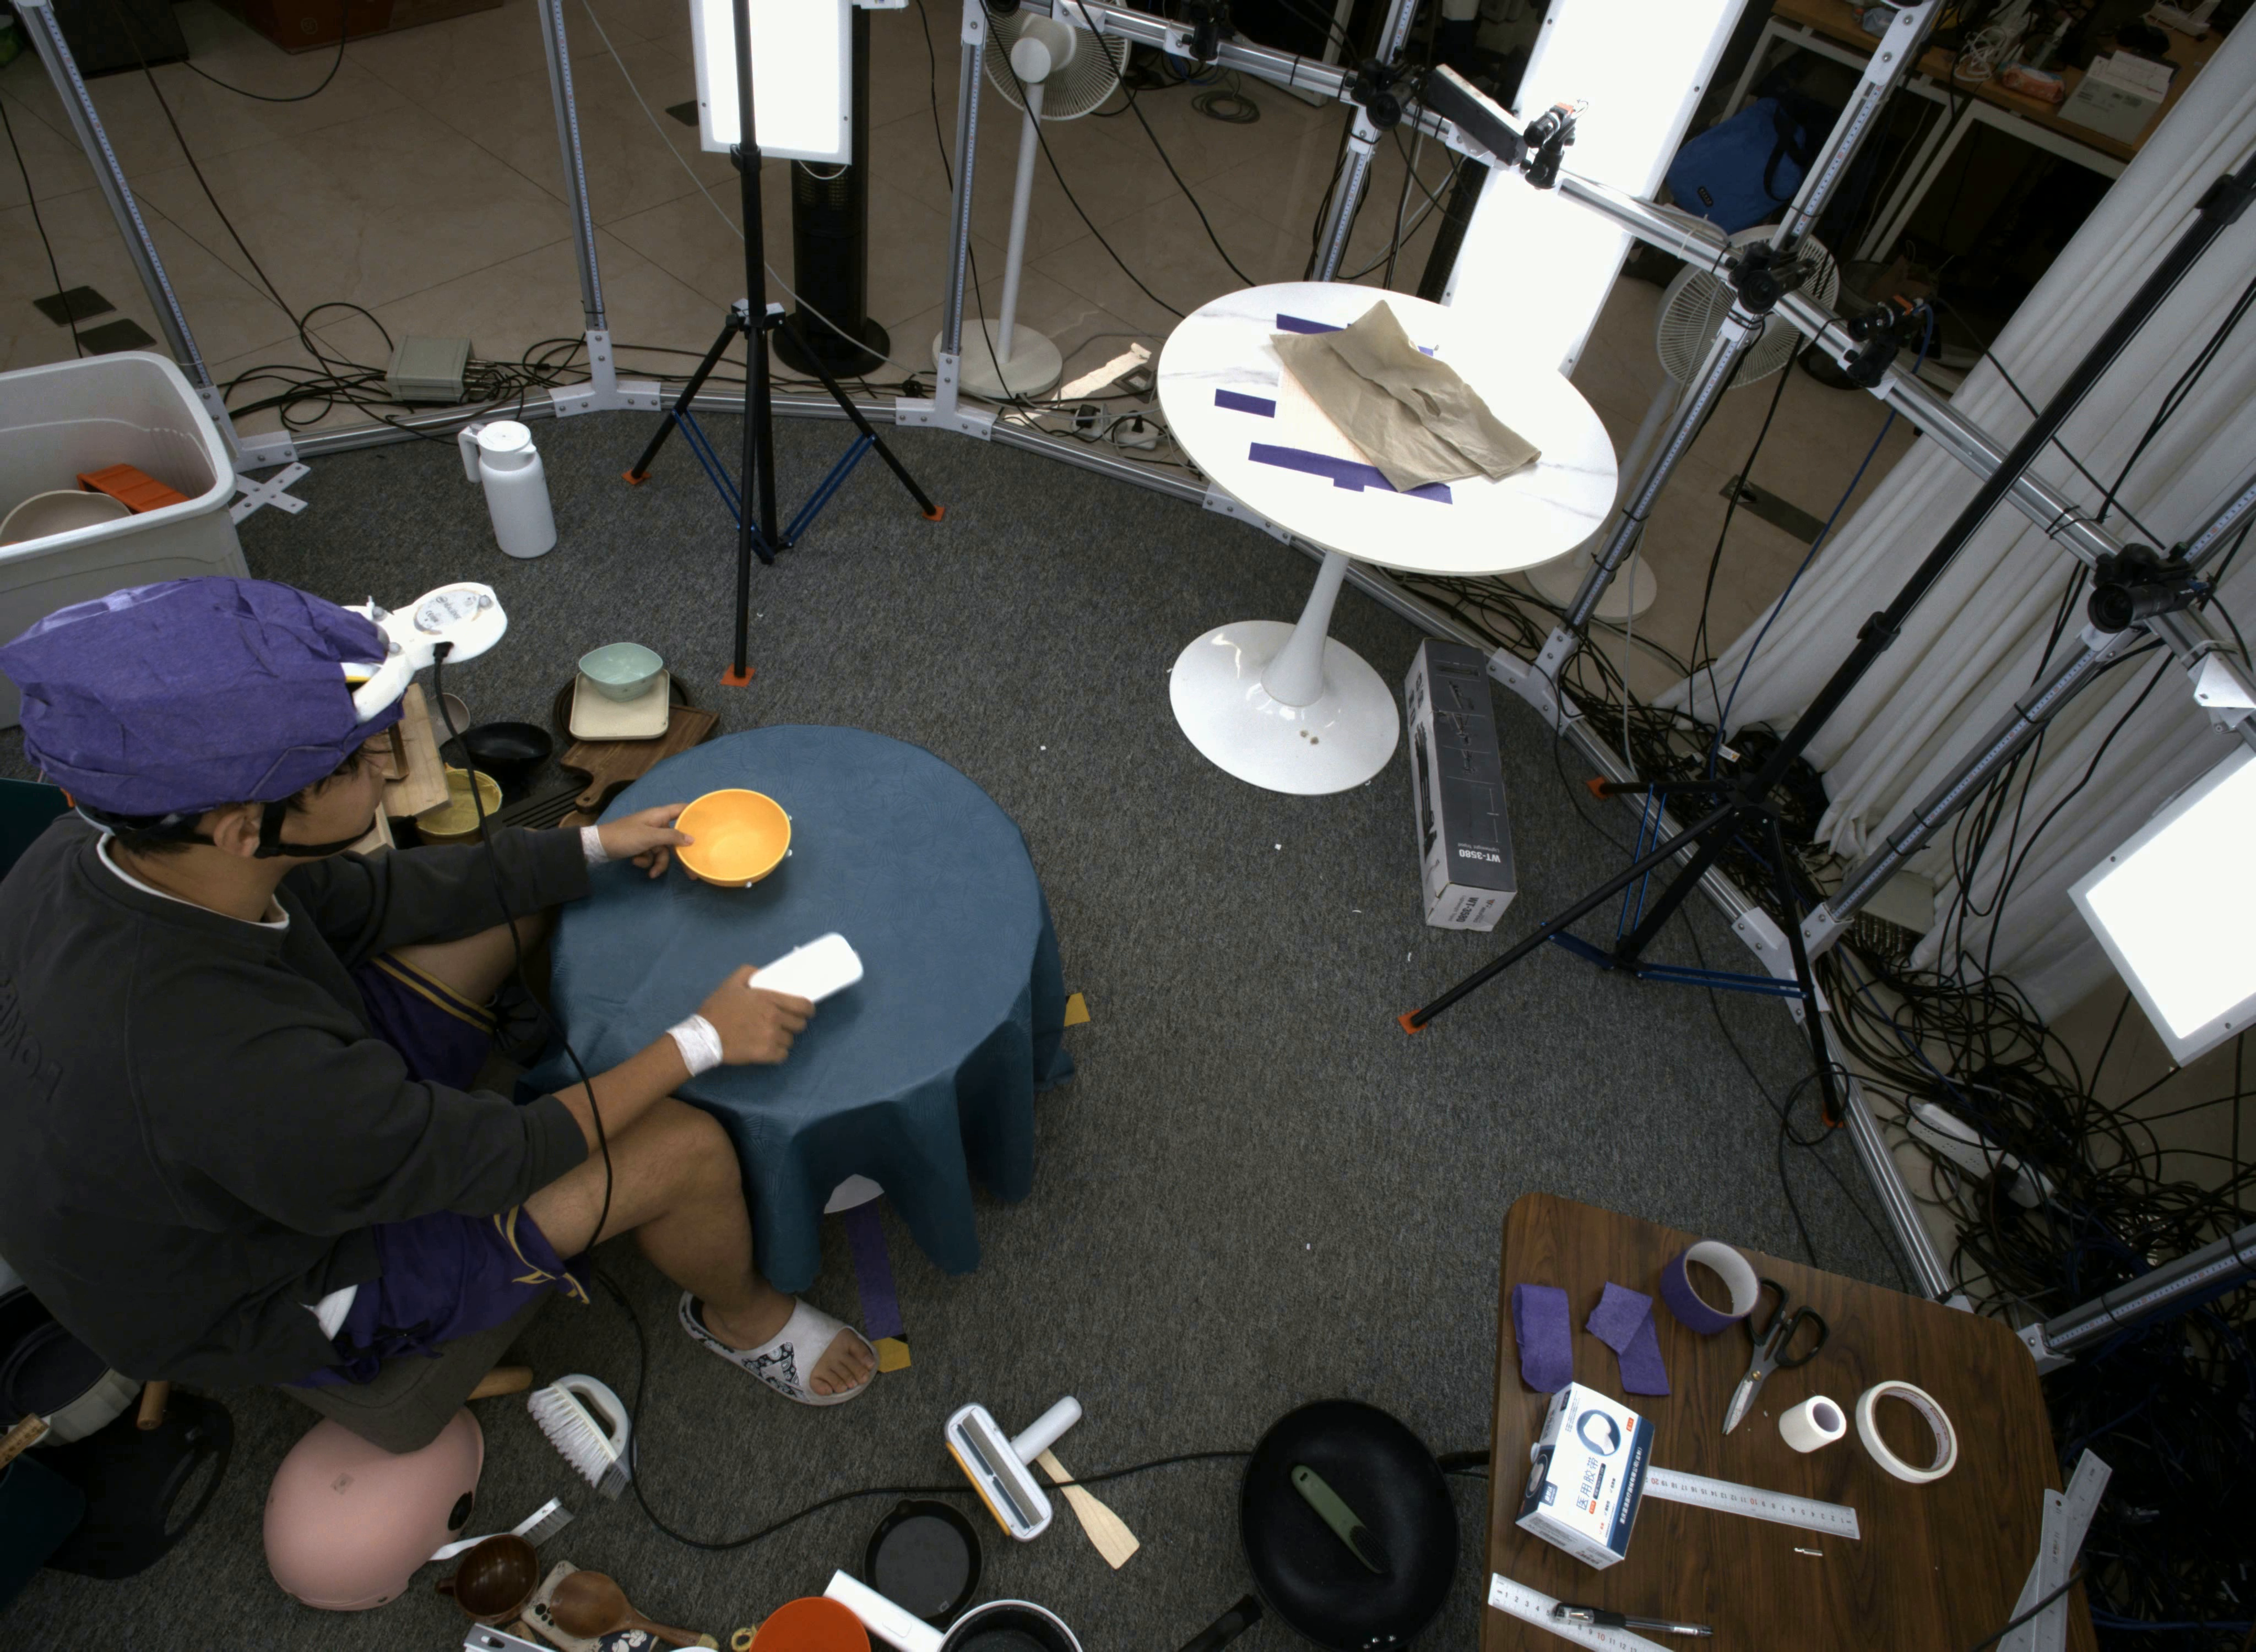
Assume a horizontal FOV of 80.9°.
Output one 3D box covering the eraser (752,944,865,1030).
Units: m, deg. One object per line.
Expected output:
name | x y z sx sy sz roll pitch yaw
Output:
eraser | -0.380 0.187 1.540 0.132 0.034 0.063 -25 76 -34

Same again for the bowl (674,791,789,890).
bowl | -0.504 0.028 1.652 0.145 0.061 0.143 6 53 -7
